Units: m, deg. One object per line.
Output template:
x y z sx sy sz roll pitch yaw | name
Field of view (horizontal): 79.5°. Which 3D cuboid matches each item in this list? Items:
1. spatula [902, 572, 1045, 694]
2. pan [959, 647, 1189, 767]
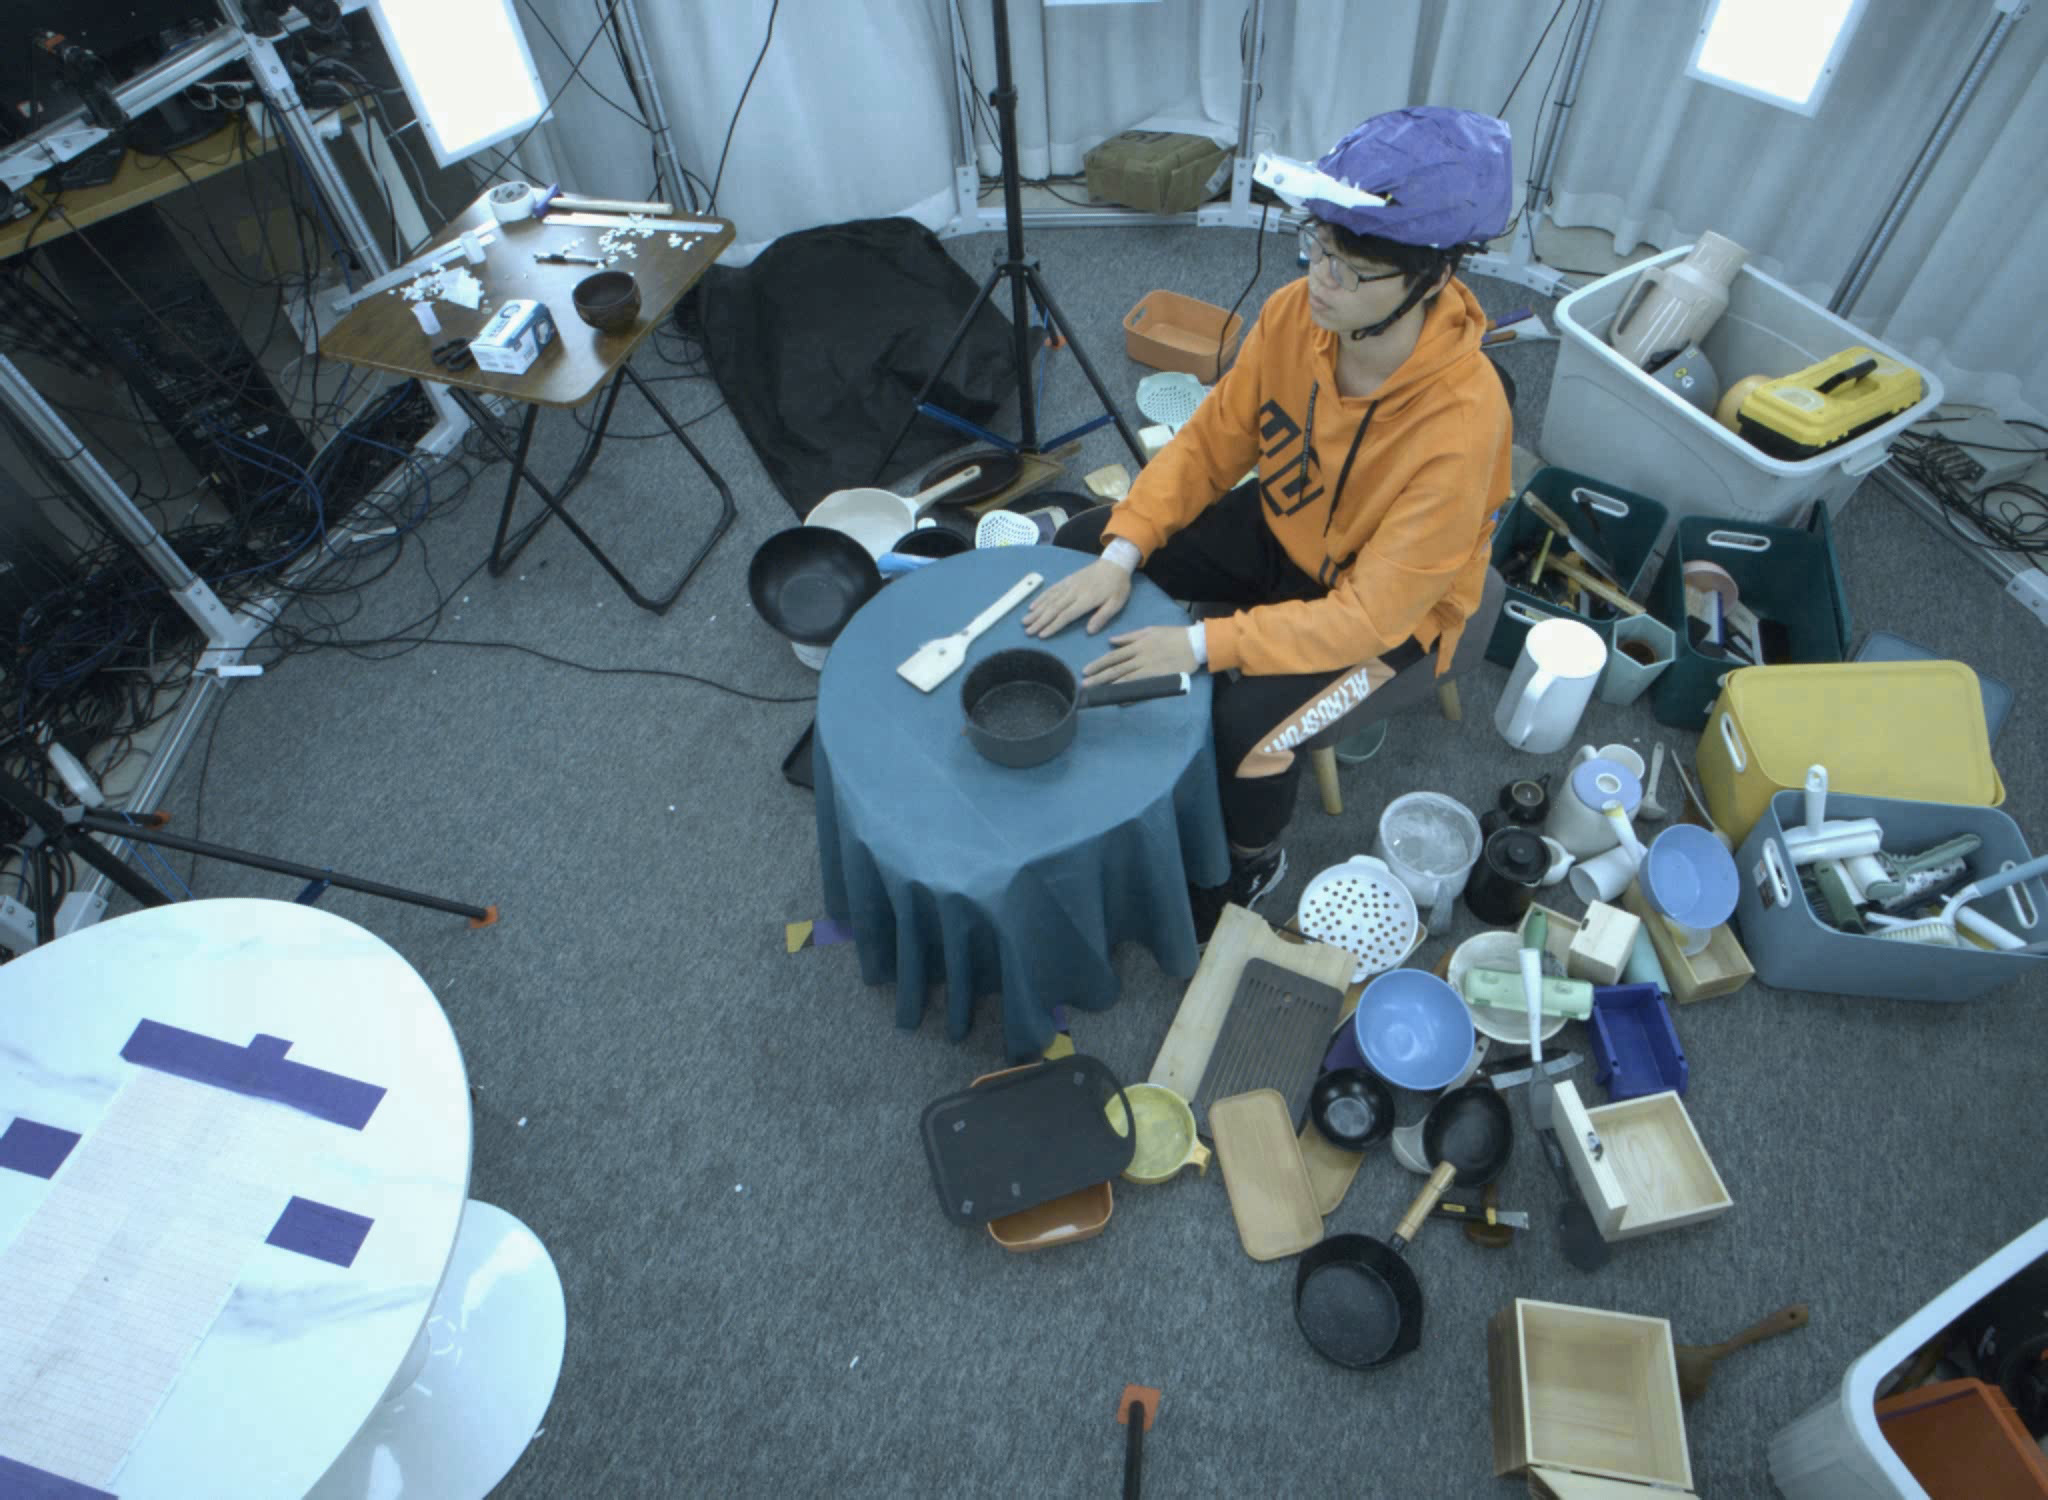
-0.069 -0.192 1.908 0.071 0.011 0.295 38 62 15 | spatula
0.074 -0.064 1.778 0.328 0.087 0.170 -2 55 3 | pan
